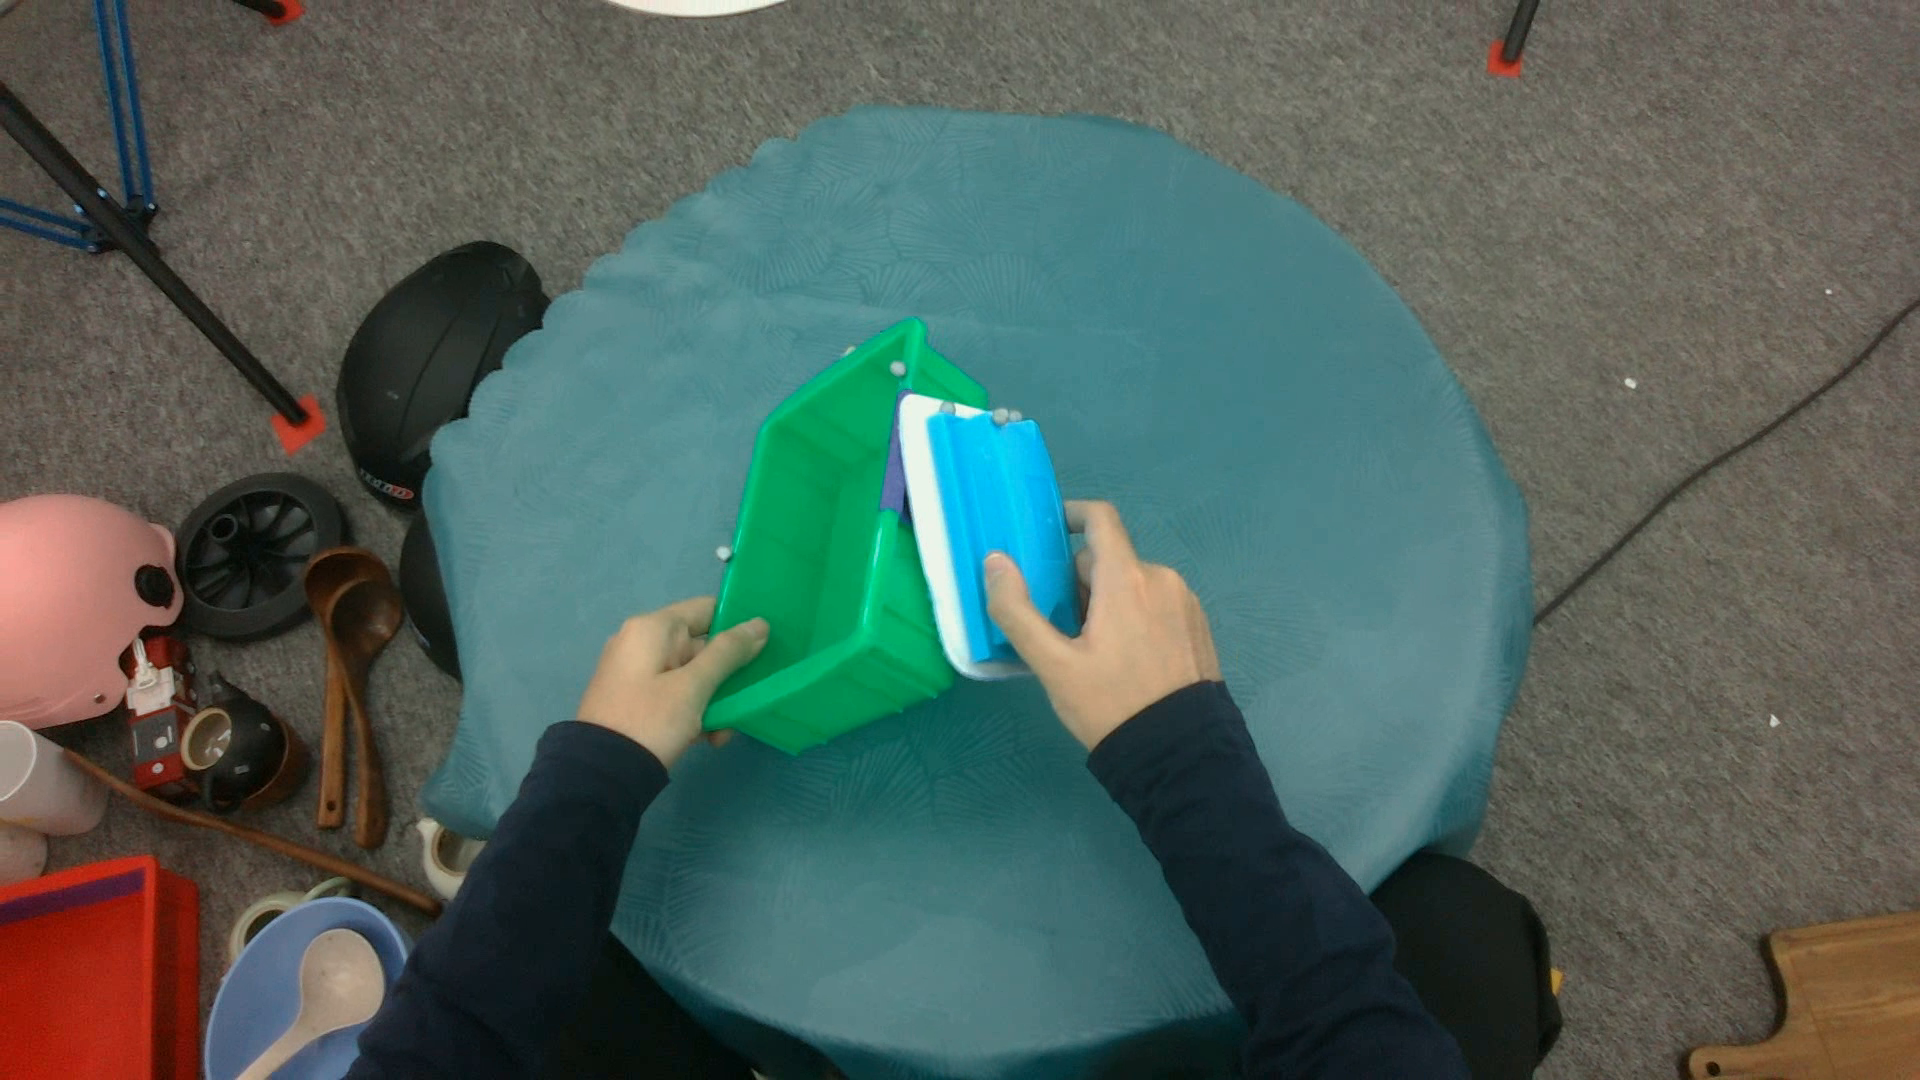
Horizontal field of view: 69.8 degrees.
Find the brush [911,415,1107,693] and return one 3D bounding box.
[{"bbox_3d":[0.029,0.000,0.660,0.055,0.084,0.144,-31,67,32],"label":"brush"}]

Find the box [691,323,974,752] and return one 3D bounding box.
[{"bbox_3d":[-0.060,0.003,0.714,0.138,0.065,0.211,-27,44,37],"label":"box"}]
